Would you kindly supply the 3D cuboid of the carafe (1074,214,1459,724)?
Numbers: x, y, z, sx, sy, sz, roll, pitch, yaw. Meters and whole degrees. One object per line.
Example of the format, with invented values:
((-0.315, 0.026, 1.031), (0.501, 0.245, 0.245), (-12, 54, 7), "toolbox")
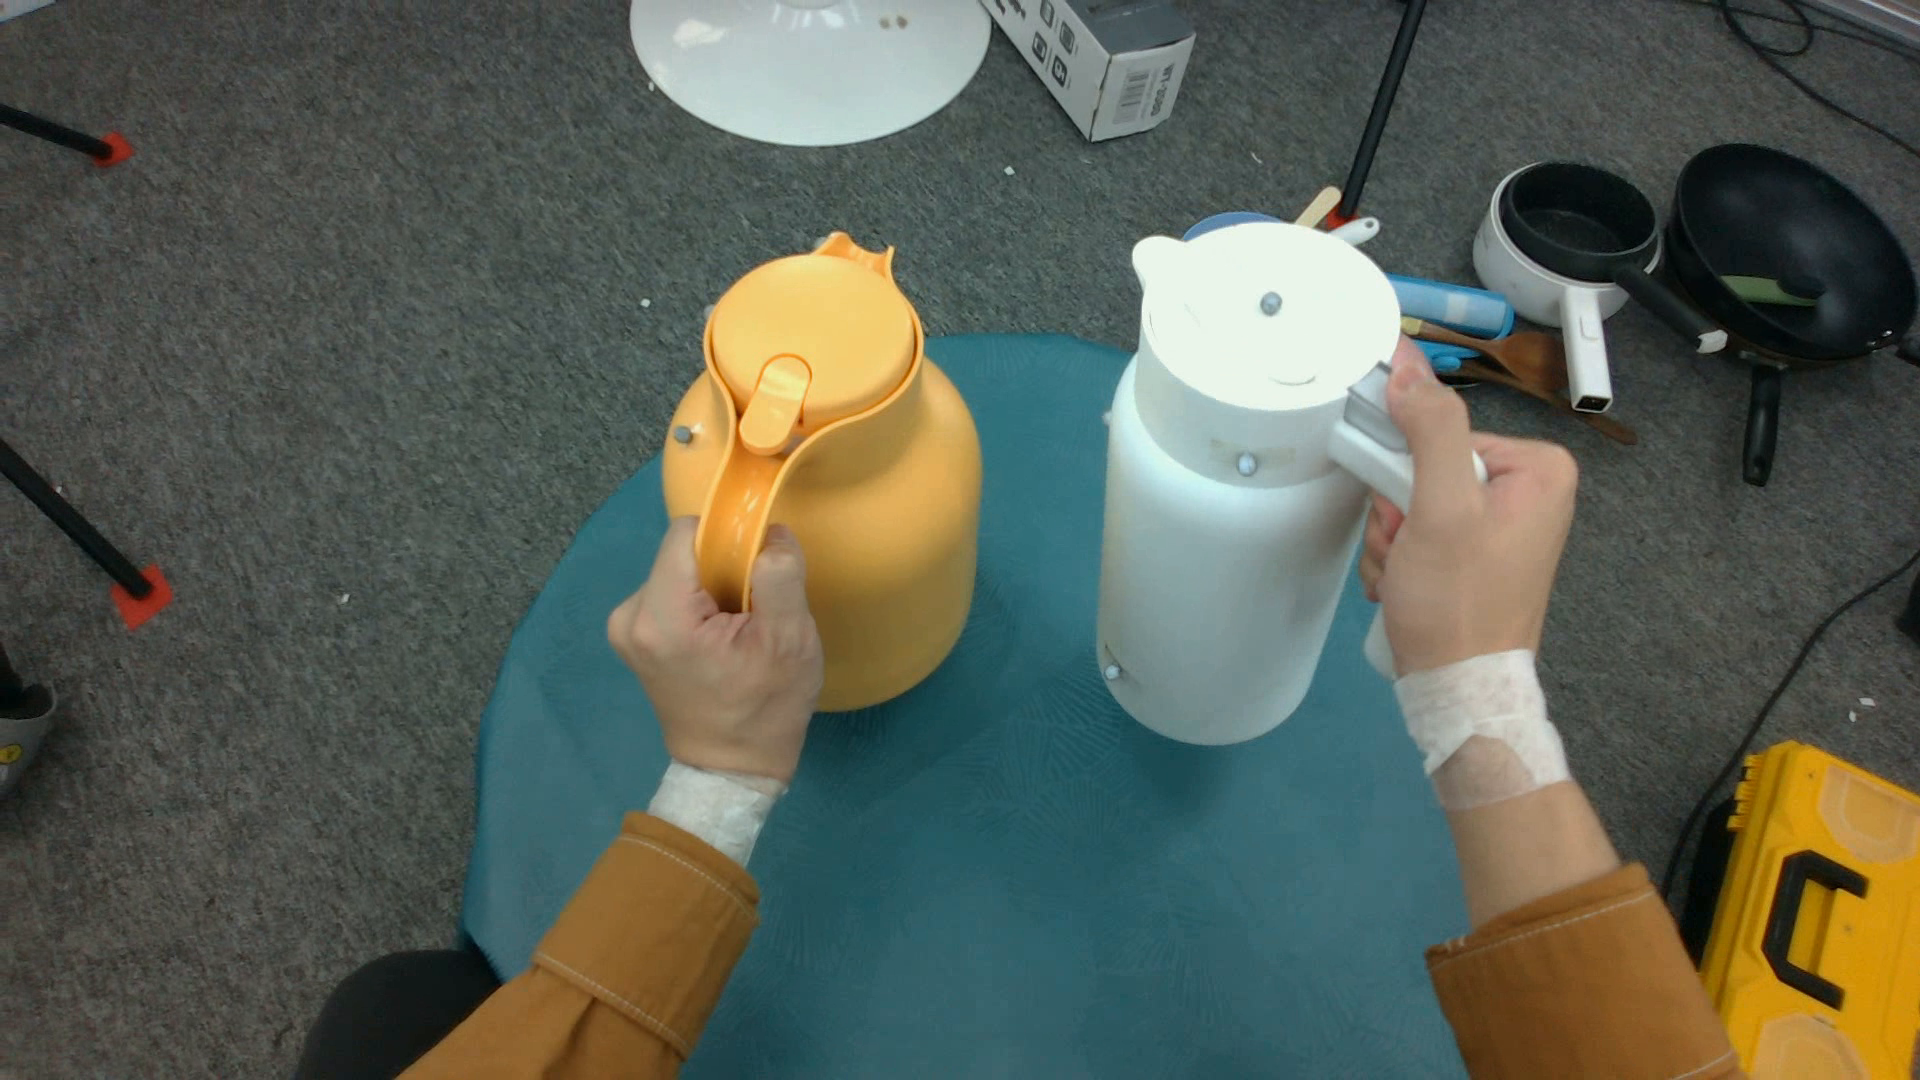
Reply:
((0.129, -0.012, 0.641), (0.124, 0.267, 0.173), (-38, 63, -23), "carafe")

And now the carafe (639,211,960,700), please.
((-0.088, -0.023, 0.694), (0.163, 0.259, 0.203), (17, 57, 9), "carafe")
